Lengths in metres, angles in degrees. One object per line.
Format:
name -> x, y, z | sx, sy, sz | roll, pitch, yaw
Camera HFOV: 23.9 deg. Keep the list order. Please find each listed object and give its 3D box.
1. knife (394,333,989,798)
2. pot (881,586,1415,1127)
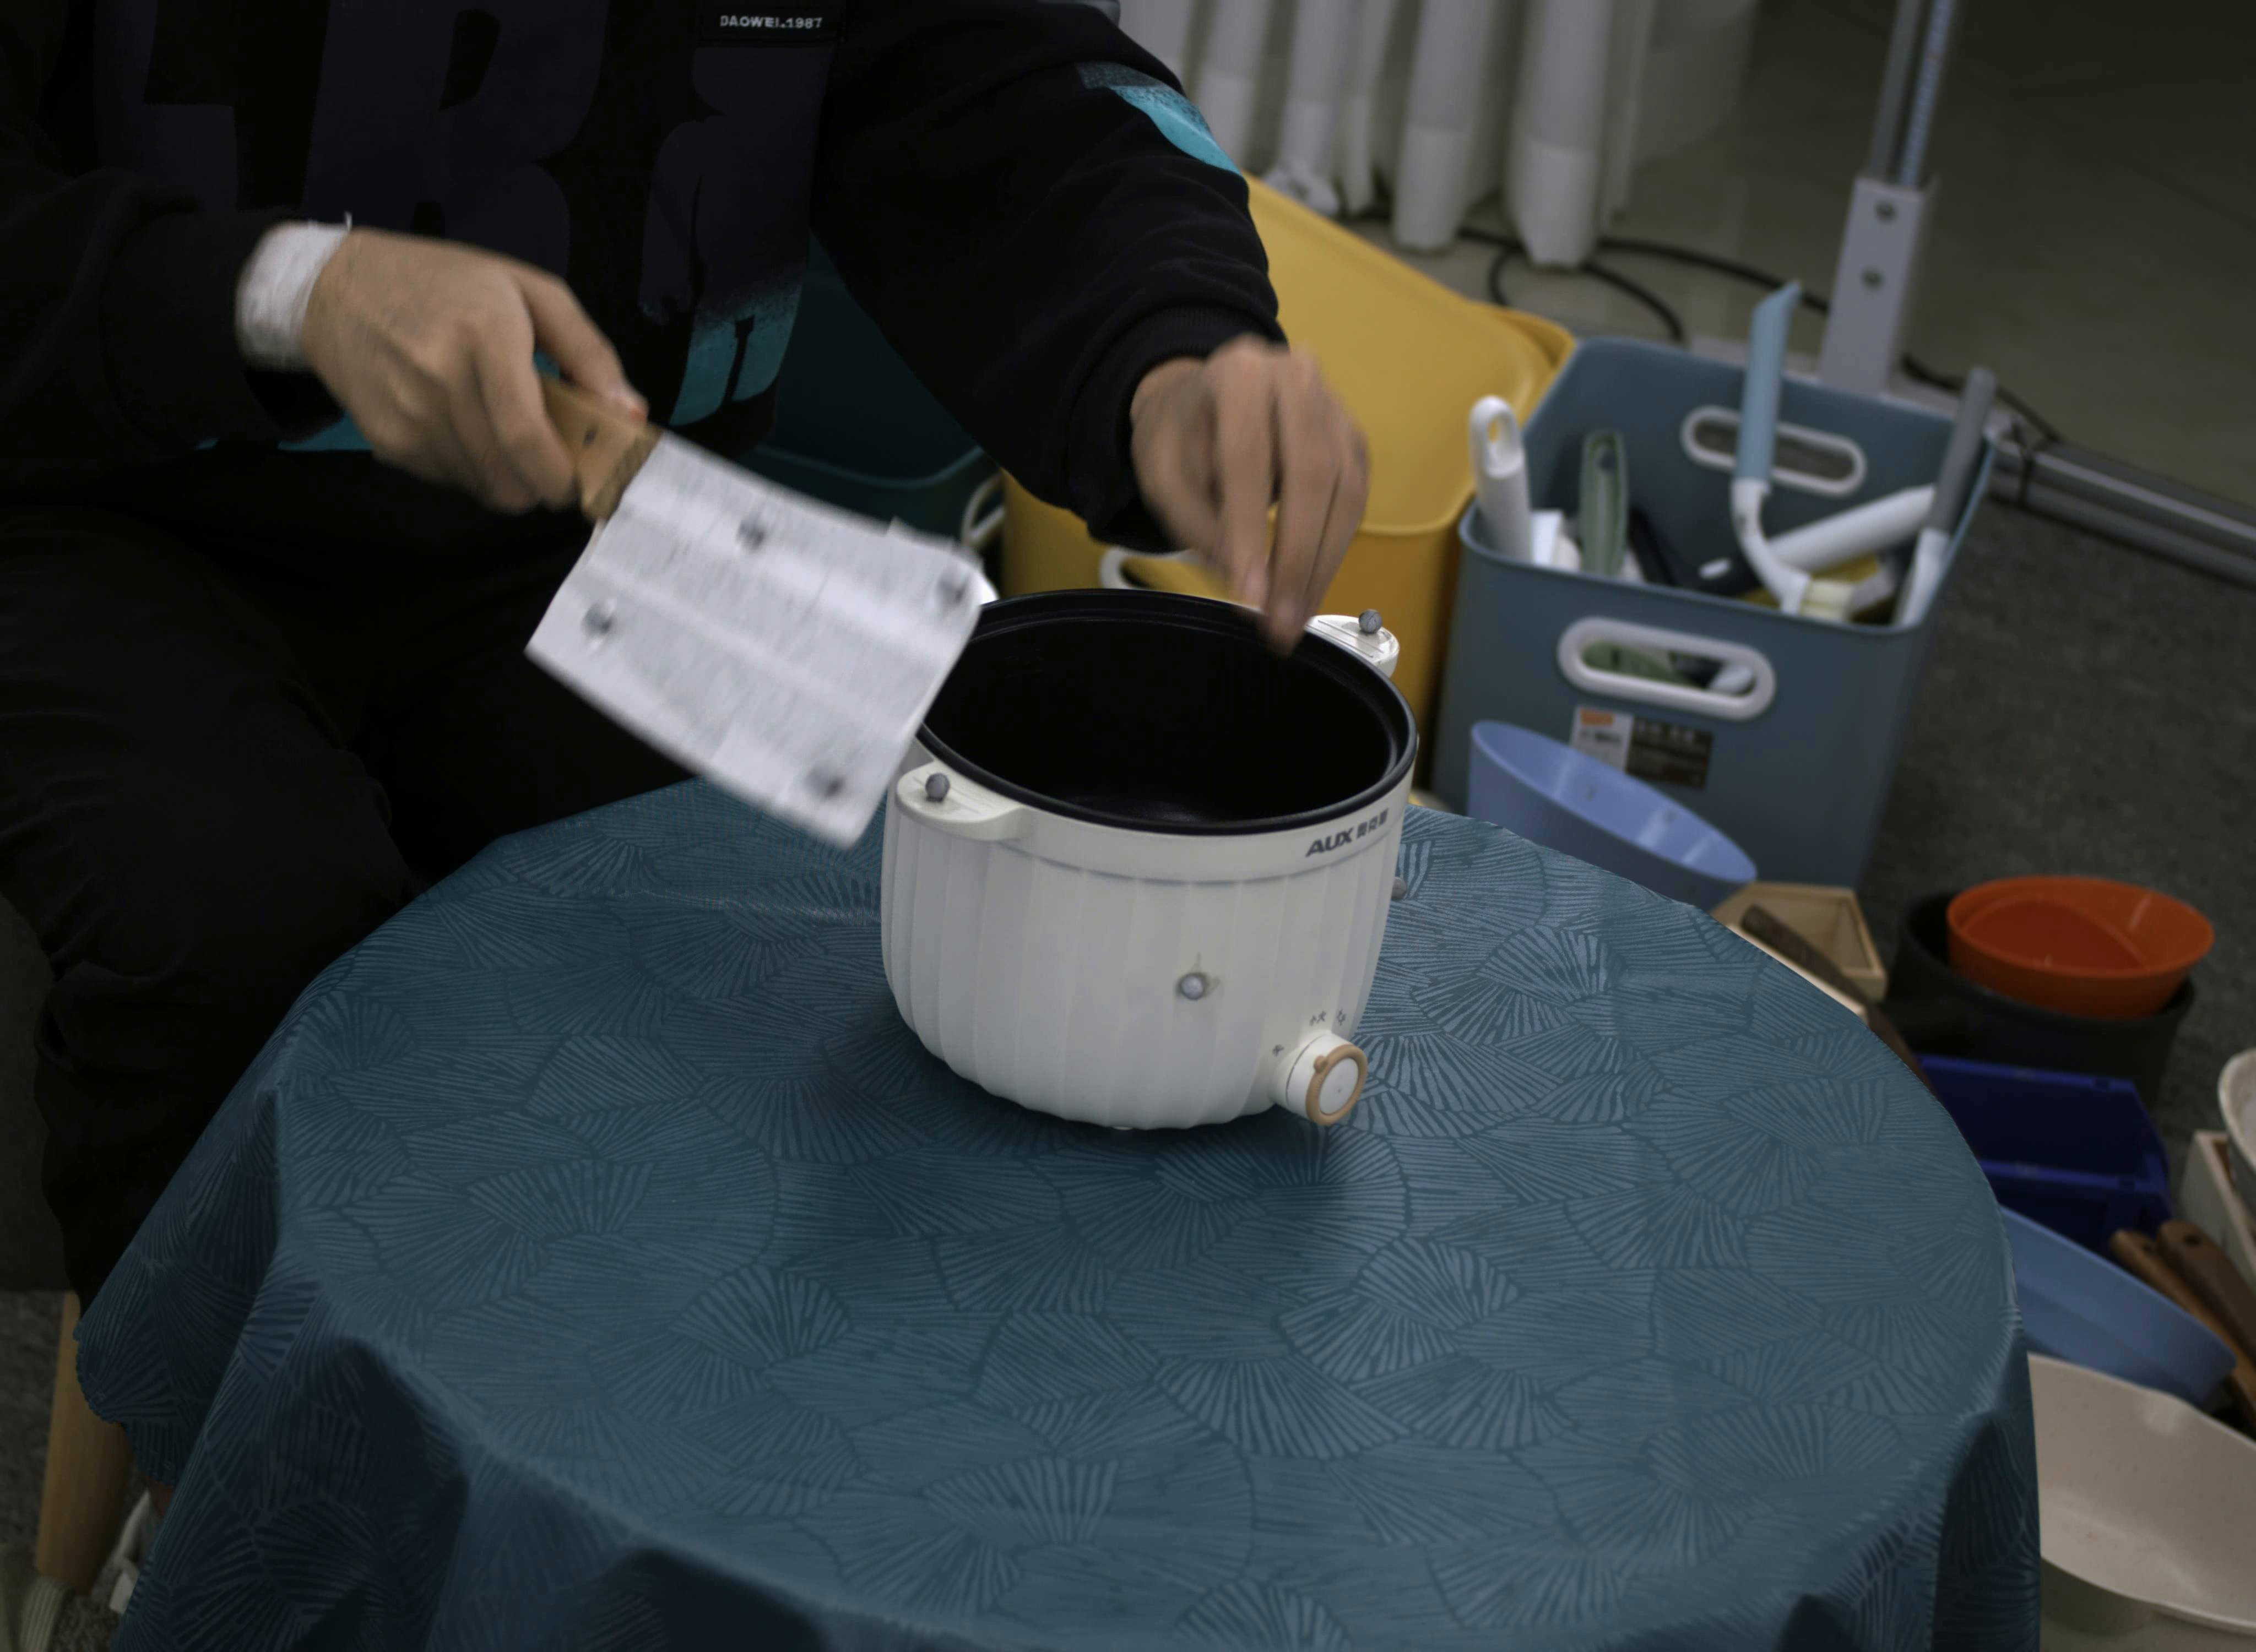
knife -> -0.152, -0.101, 1.769 | 0.021, 0.114, 0.318 | 30, 2, -45
pot -> 0.008, 0.017, 1.860 | 0.192, 0.142, 0.239 | 24, 33, 36
